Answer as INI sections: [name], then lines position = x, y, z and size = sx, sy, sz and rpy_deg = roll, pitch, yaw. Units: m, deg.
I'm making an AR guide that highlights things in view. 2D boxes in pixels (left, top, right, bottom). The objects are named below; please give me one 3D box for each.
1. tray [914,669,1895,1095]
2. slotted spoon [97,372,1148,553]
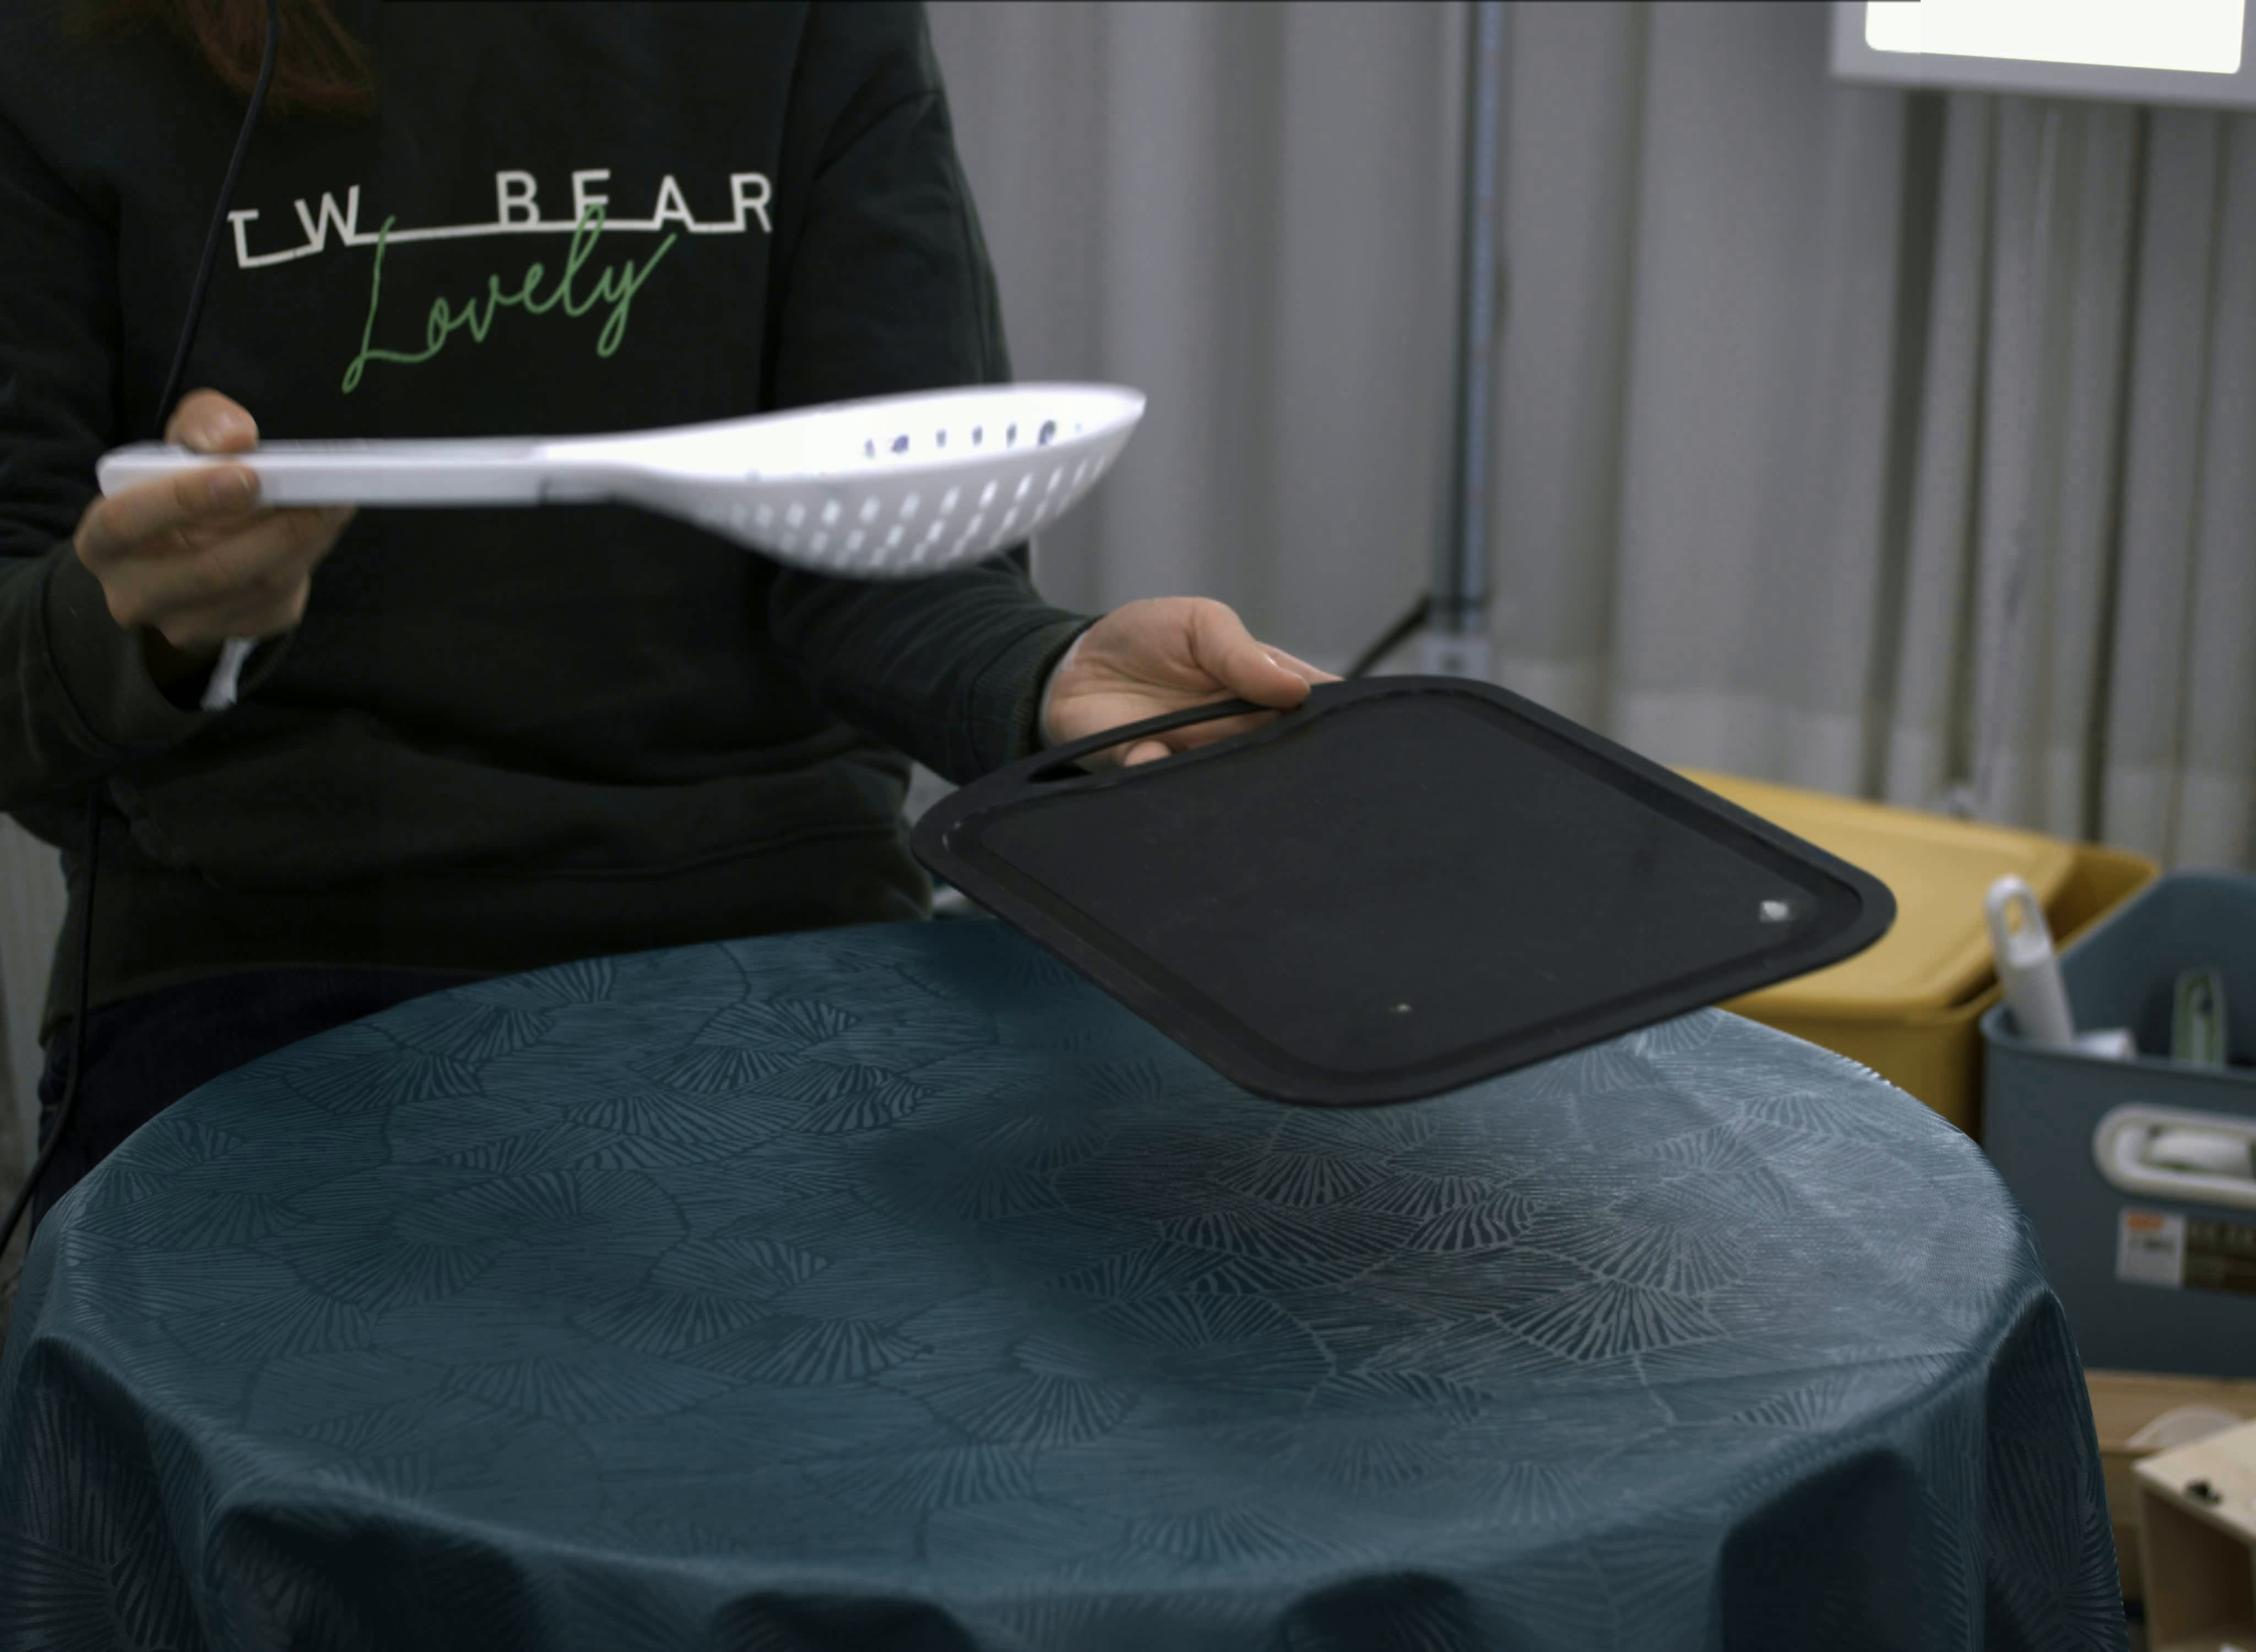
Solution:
[tray]
position = 0.072, 0.008, 1.587
size = 0.211, 0.010, 0.321
rpy_deg = -16, 23, -22
[slotted spoon]
position = -0.155, -0.110, 1.521
size = 0.346, 0.046, 0.136
rpy_deg = 6, 15, 27
